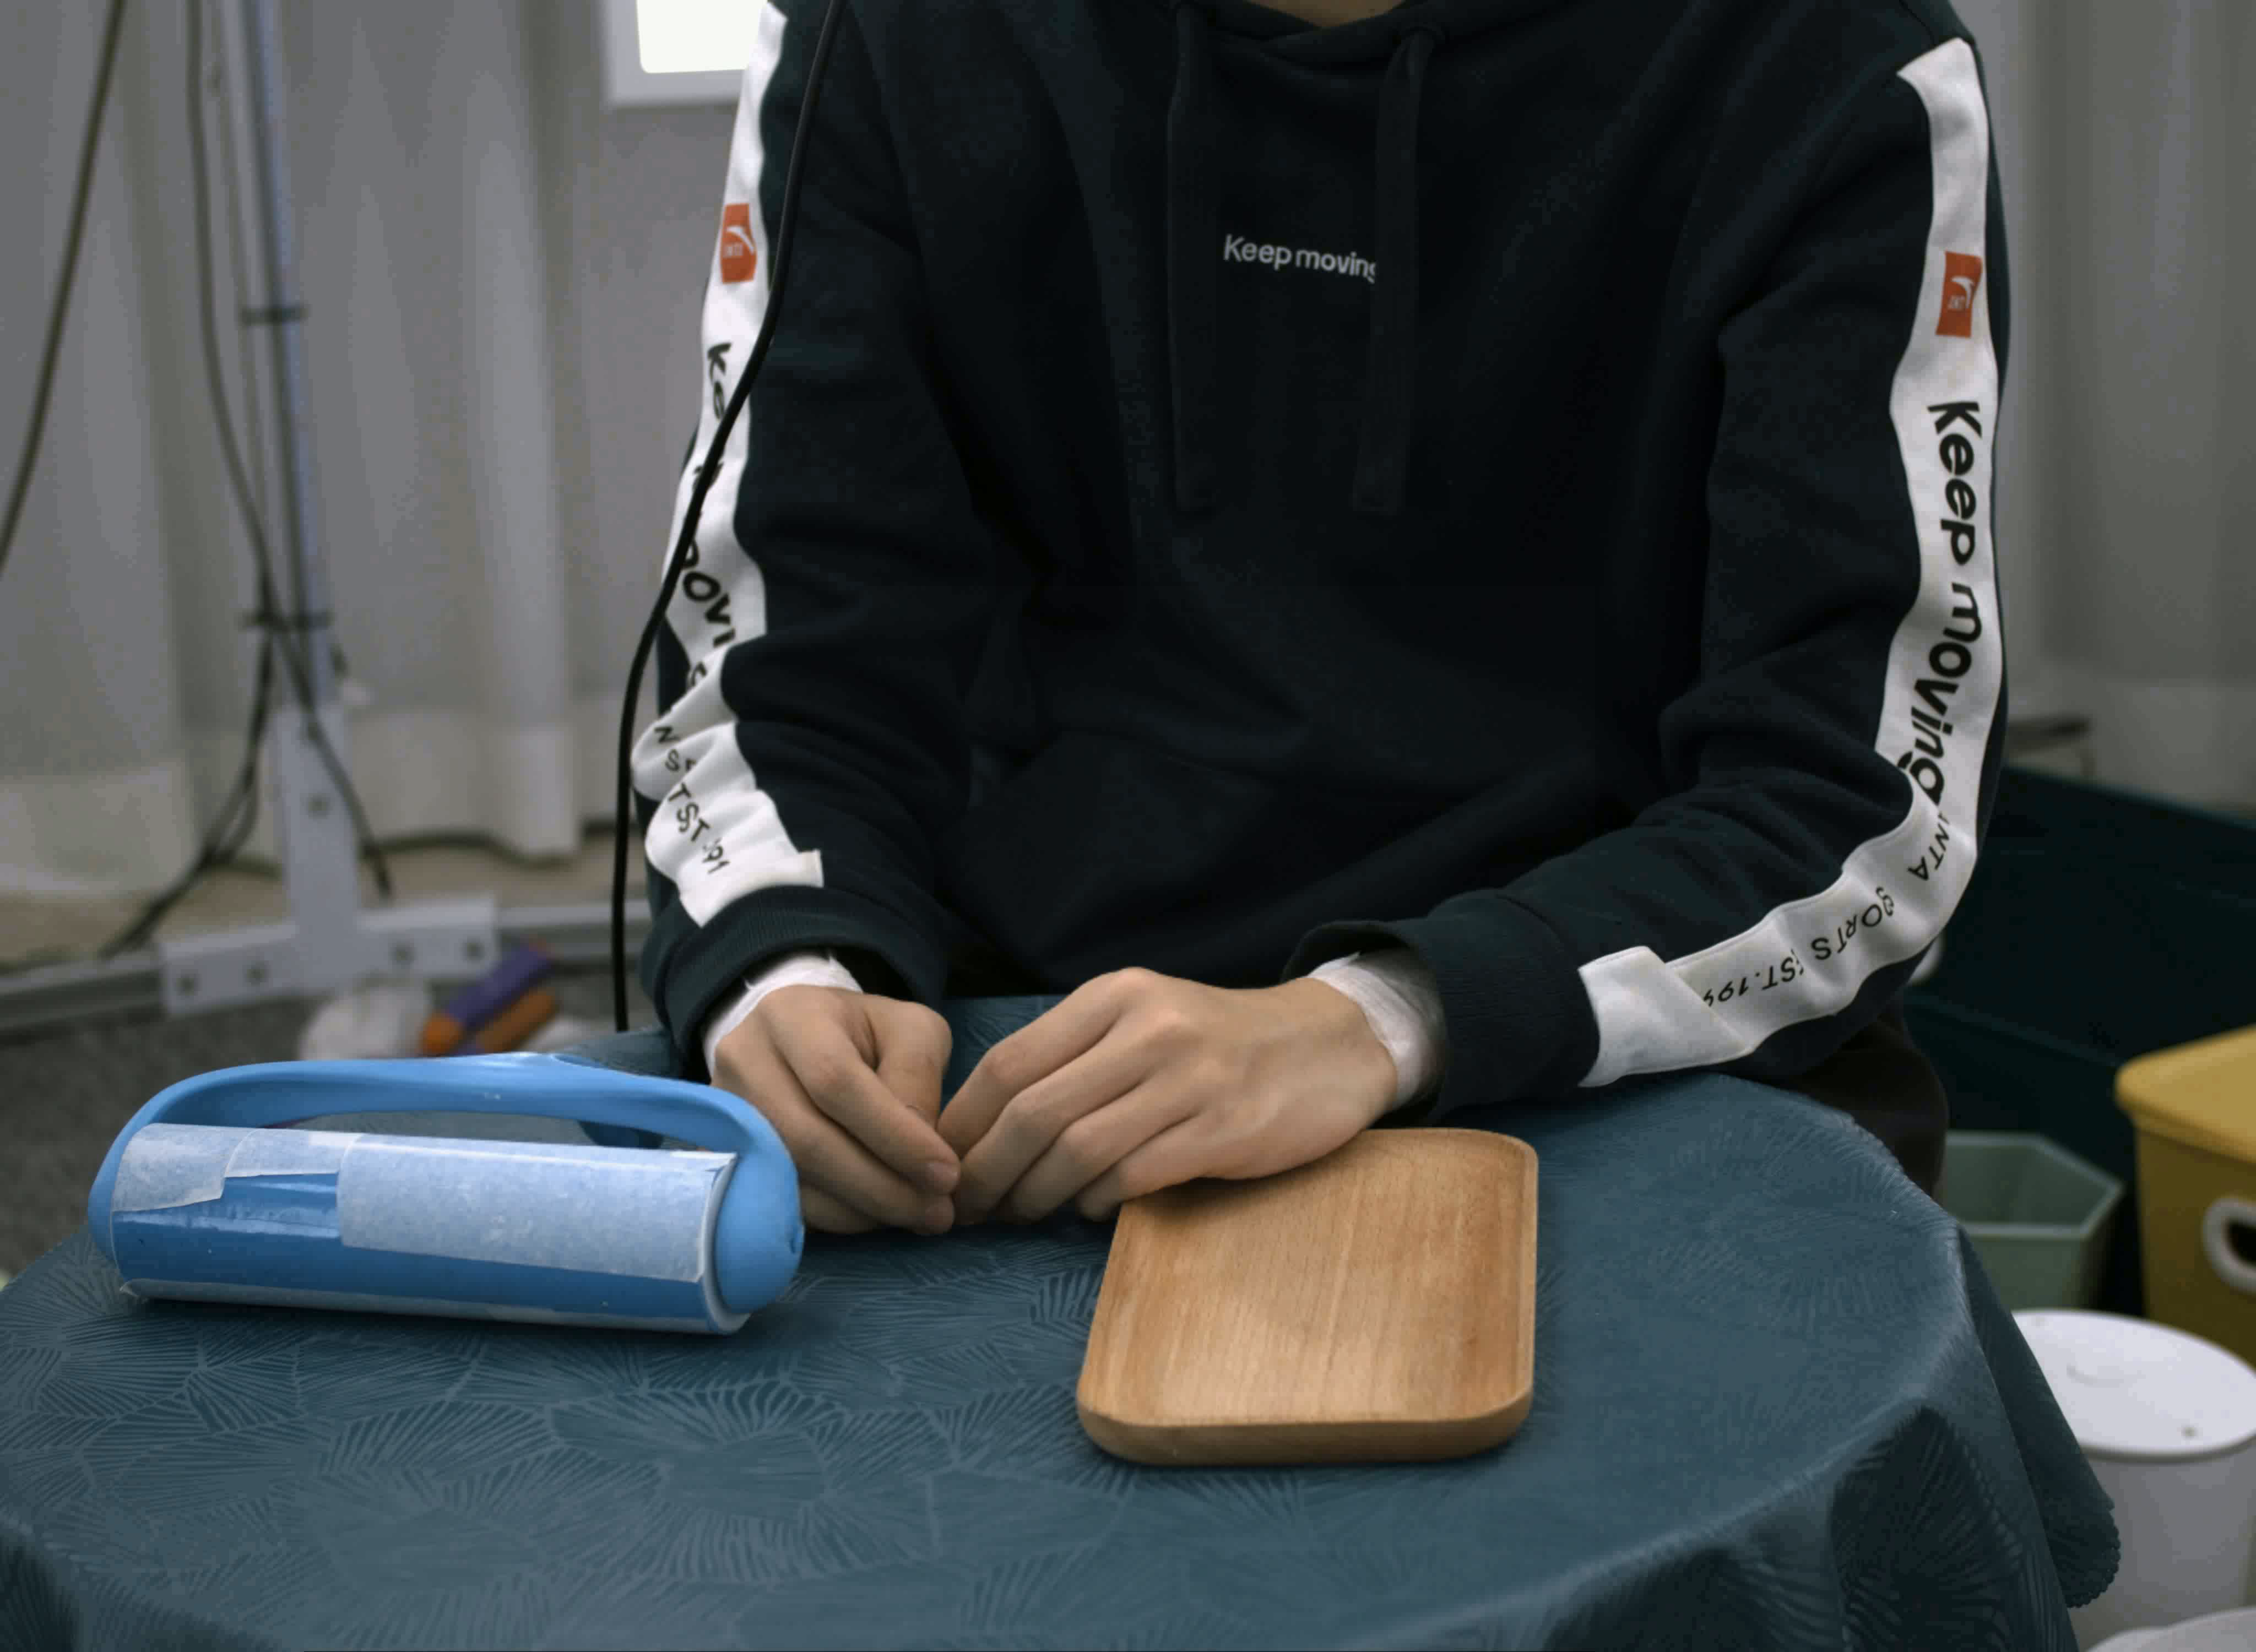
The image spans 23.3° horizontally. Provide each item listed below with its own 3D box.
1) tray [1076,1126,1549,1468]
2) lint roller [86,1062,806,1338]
[{"bbox_3d":[0.057,0.135,1.595,0.130,0.023,0.252,0,15,6],"label":"tray"},{"bbox_3d":[-0.190,0.103,1.686,0.229,0.067,0.181,-1,16,16],"label":"lint roller"}]
